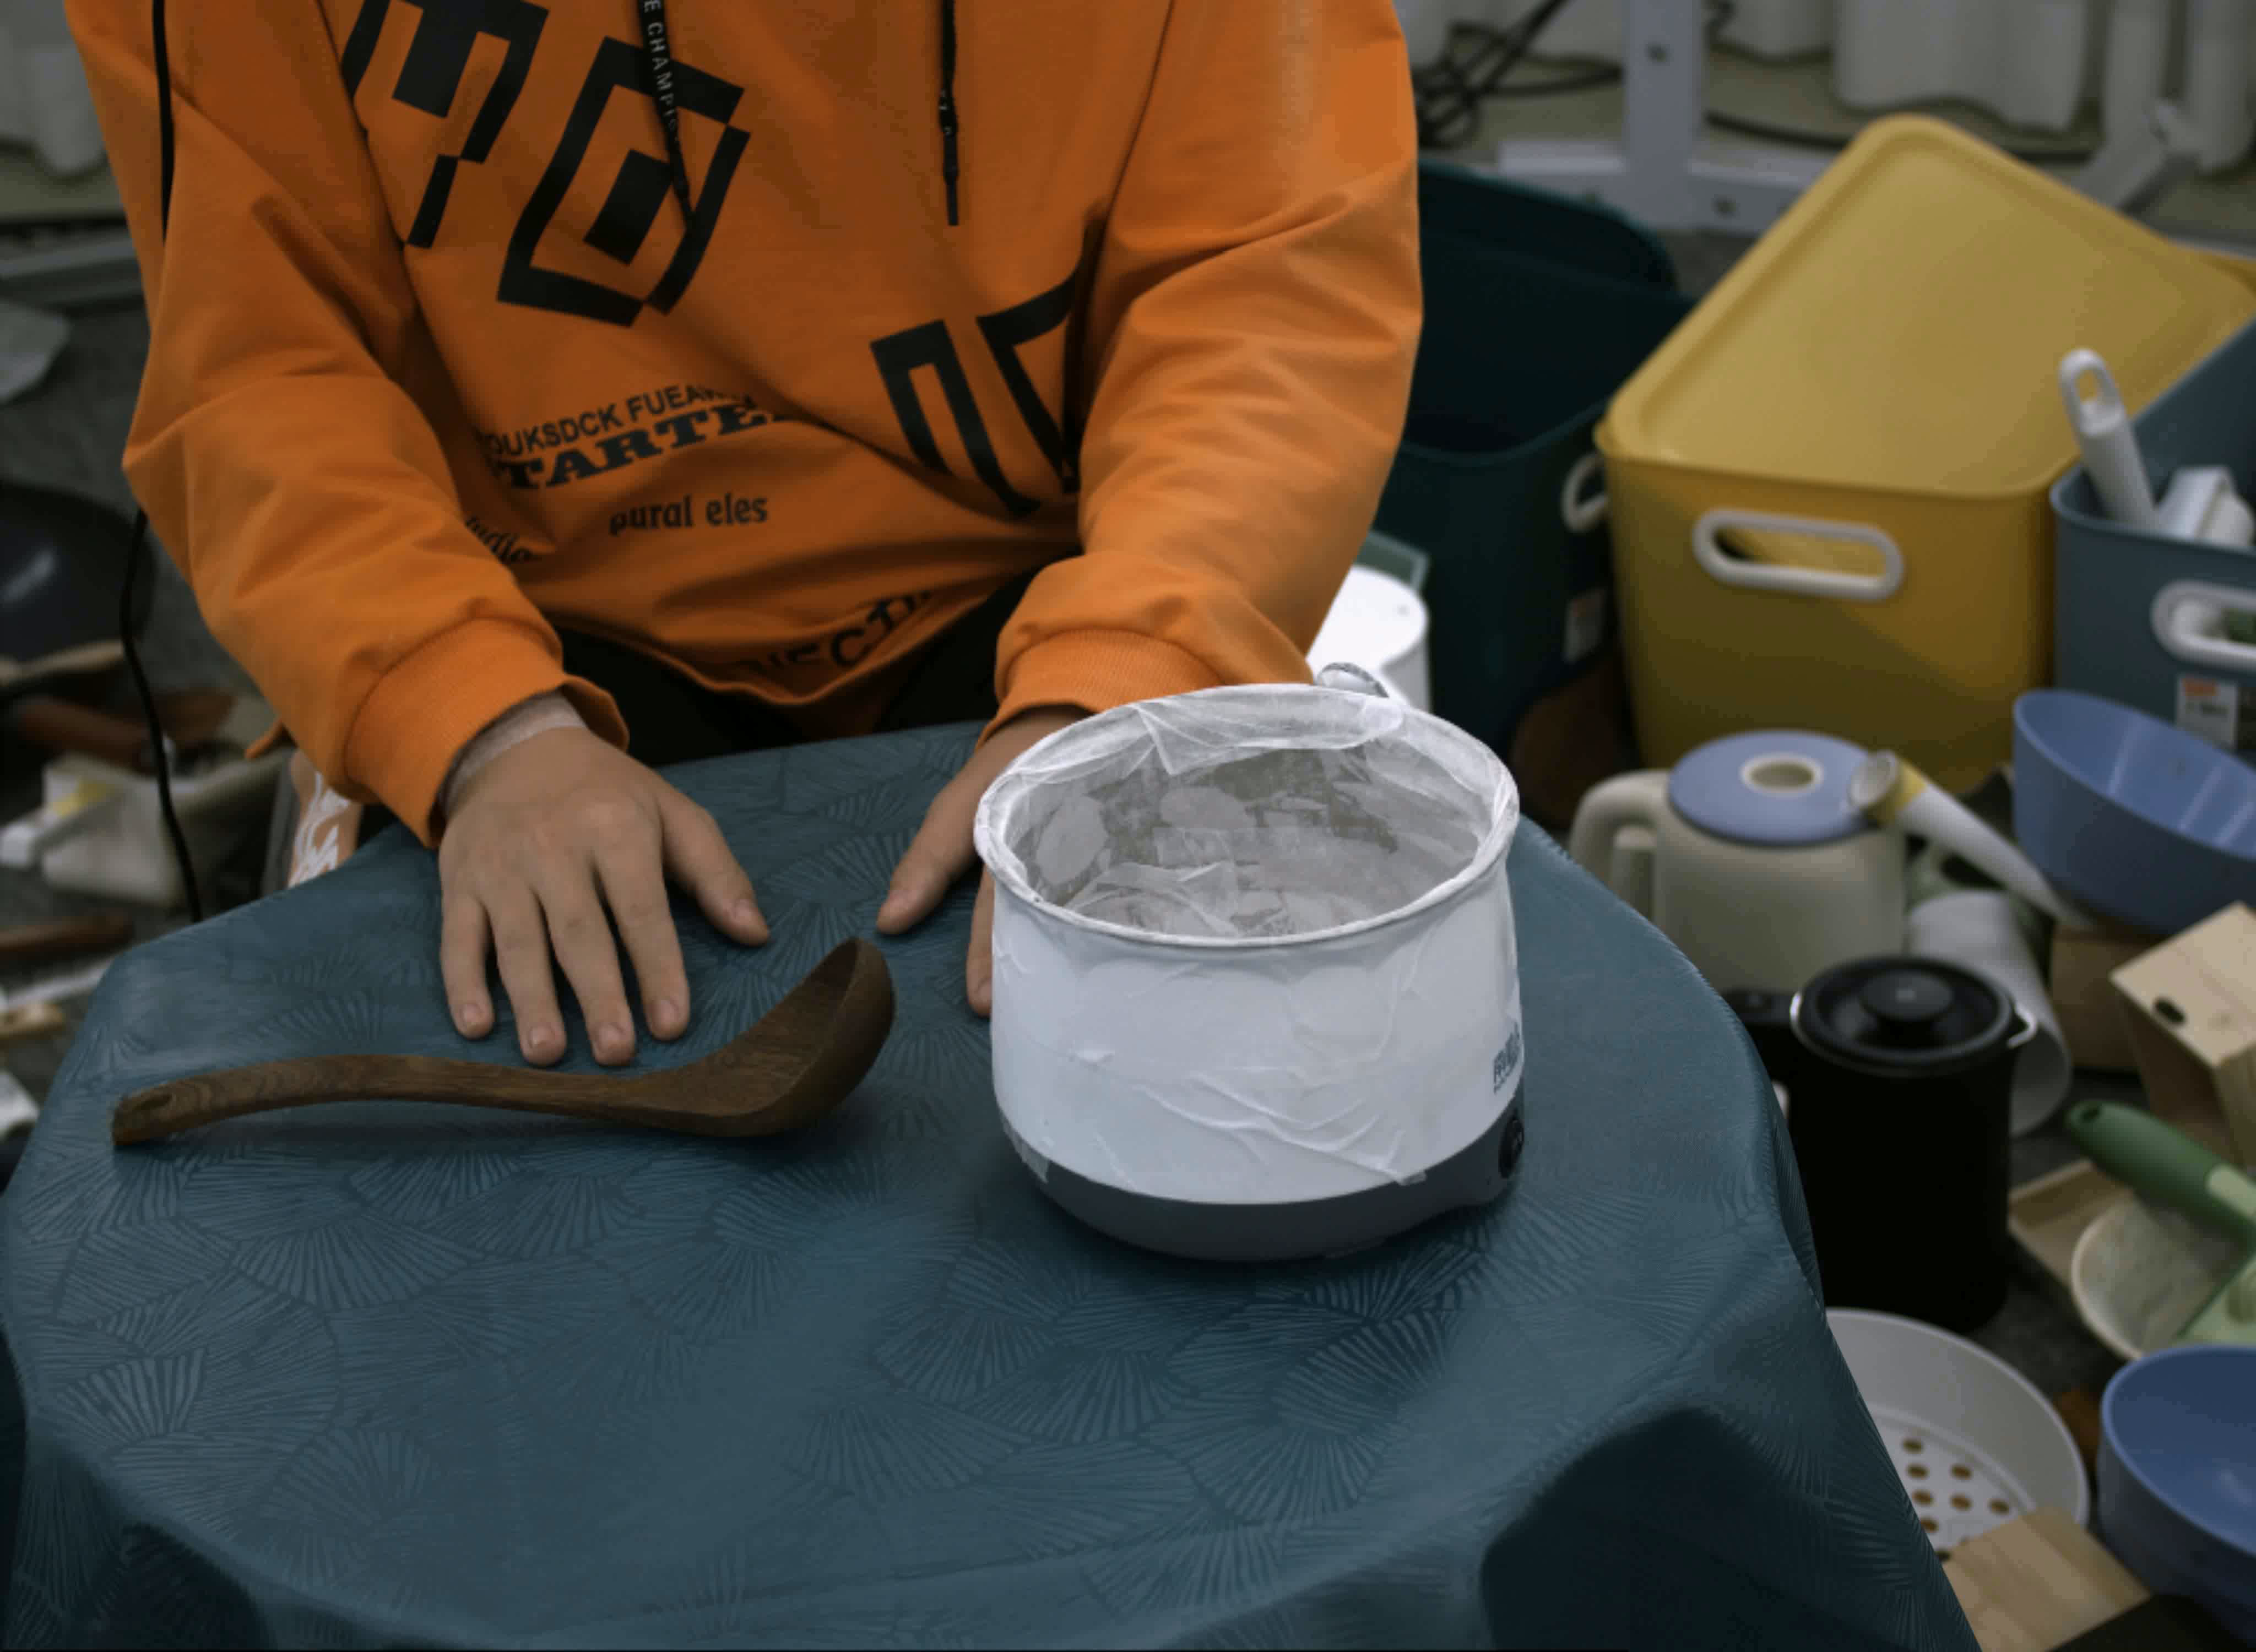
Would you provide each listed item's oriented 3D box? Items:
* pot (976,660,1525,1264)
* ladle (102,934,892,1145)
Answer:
[{"bbox_3d":[0.051,0.037,1.872,0.177,0.135,0.238,7,29,17],"label":"pot"},{"bbox_3d":[-0.215,0.074,1.901,0.272,0.070,0.077,-1,24,3],"label":"ladle"}]
